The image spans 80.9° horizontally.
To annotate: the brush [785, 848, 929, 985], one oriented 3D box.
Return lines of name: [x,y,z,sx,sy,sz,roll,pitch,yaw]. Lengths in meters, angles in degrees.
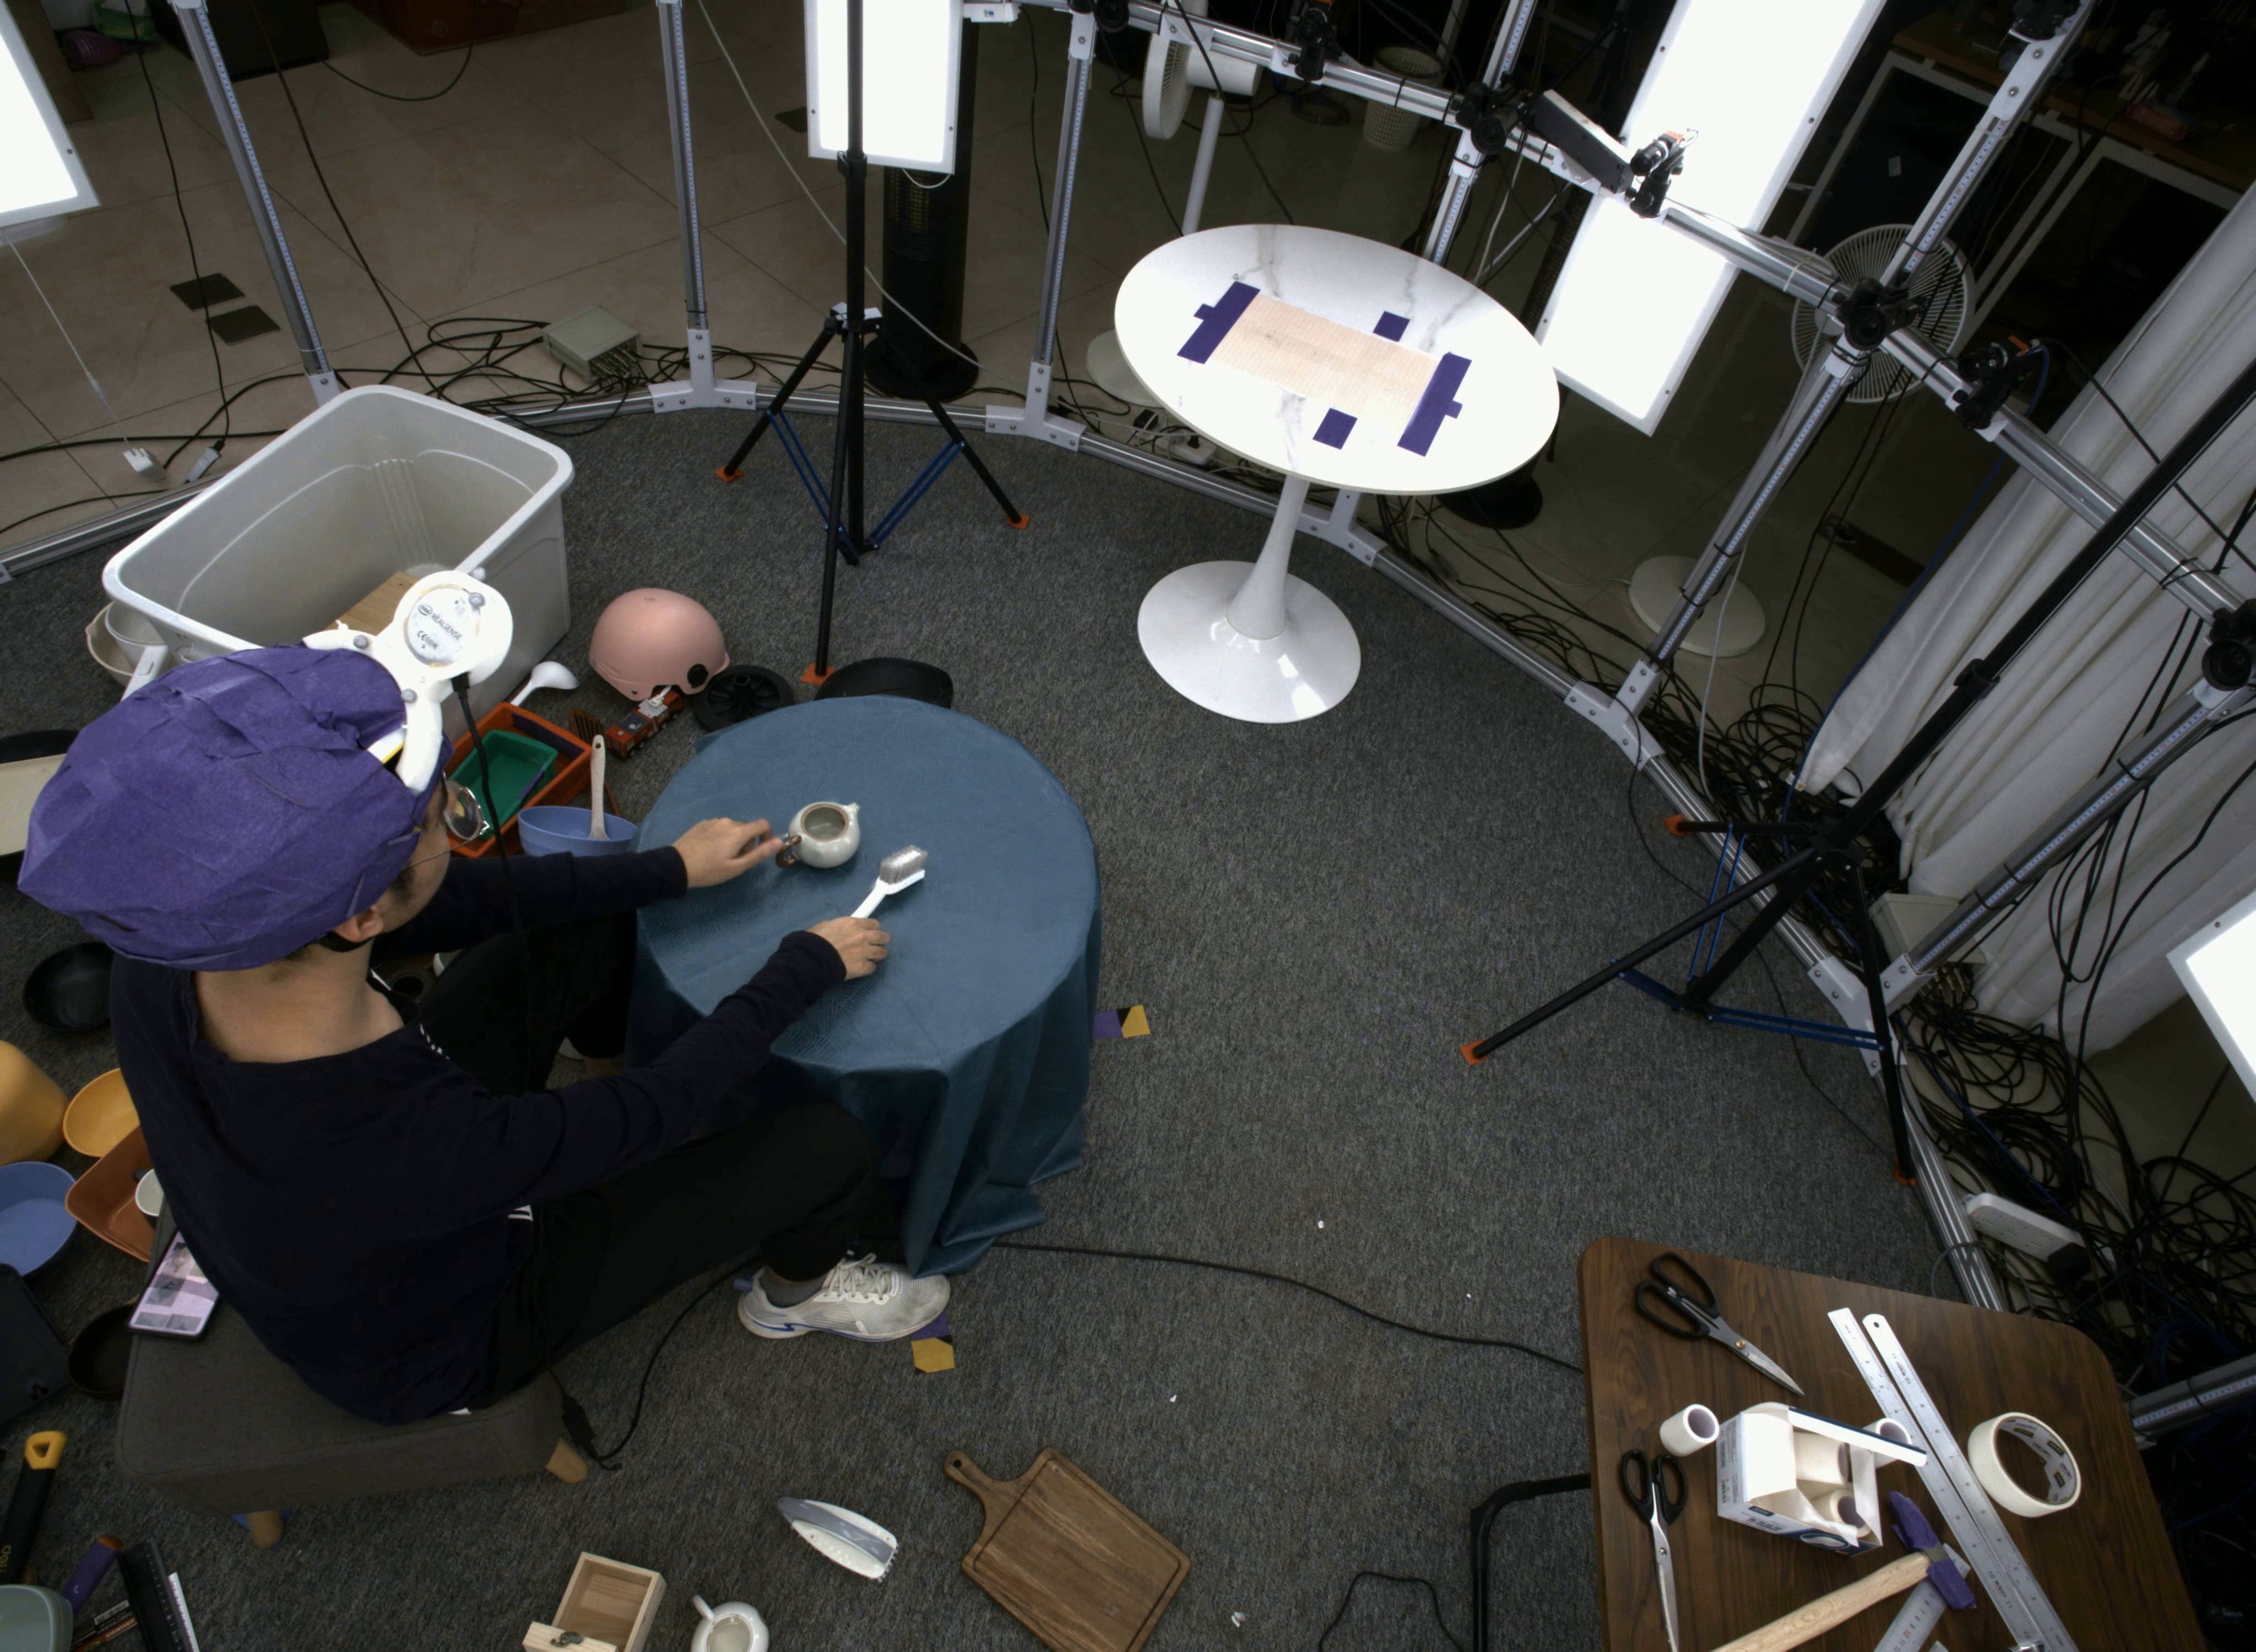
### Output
brush: [-0.341,0.107,1.634,0.033,0.051,0.243,32,52,21]

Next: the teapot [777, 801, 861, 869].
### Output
teapot: [-0.401,0.015,1.684,0.090,0.060,0.128,44,55,16]
